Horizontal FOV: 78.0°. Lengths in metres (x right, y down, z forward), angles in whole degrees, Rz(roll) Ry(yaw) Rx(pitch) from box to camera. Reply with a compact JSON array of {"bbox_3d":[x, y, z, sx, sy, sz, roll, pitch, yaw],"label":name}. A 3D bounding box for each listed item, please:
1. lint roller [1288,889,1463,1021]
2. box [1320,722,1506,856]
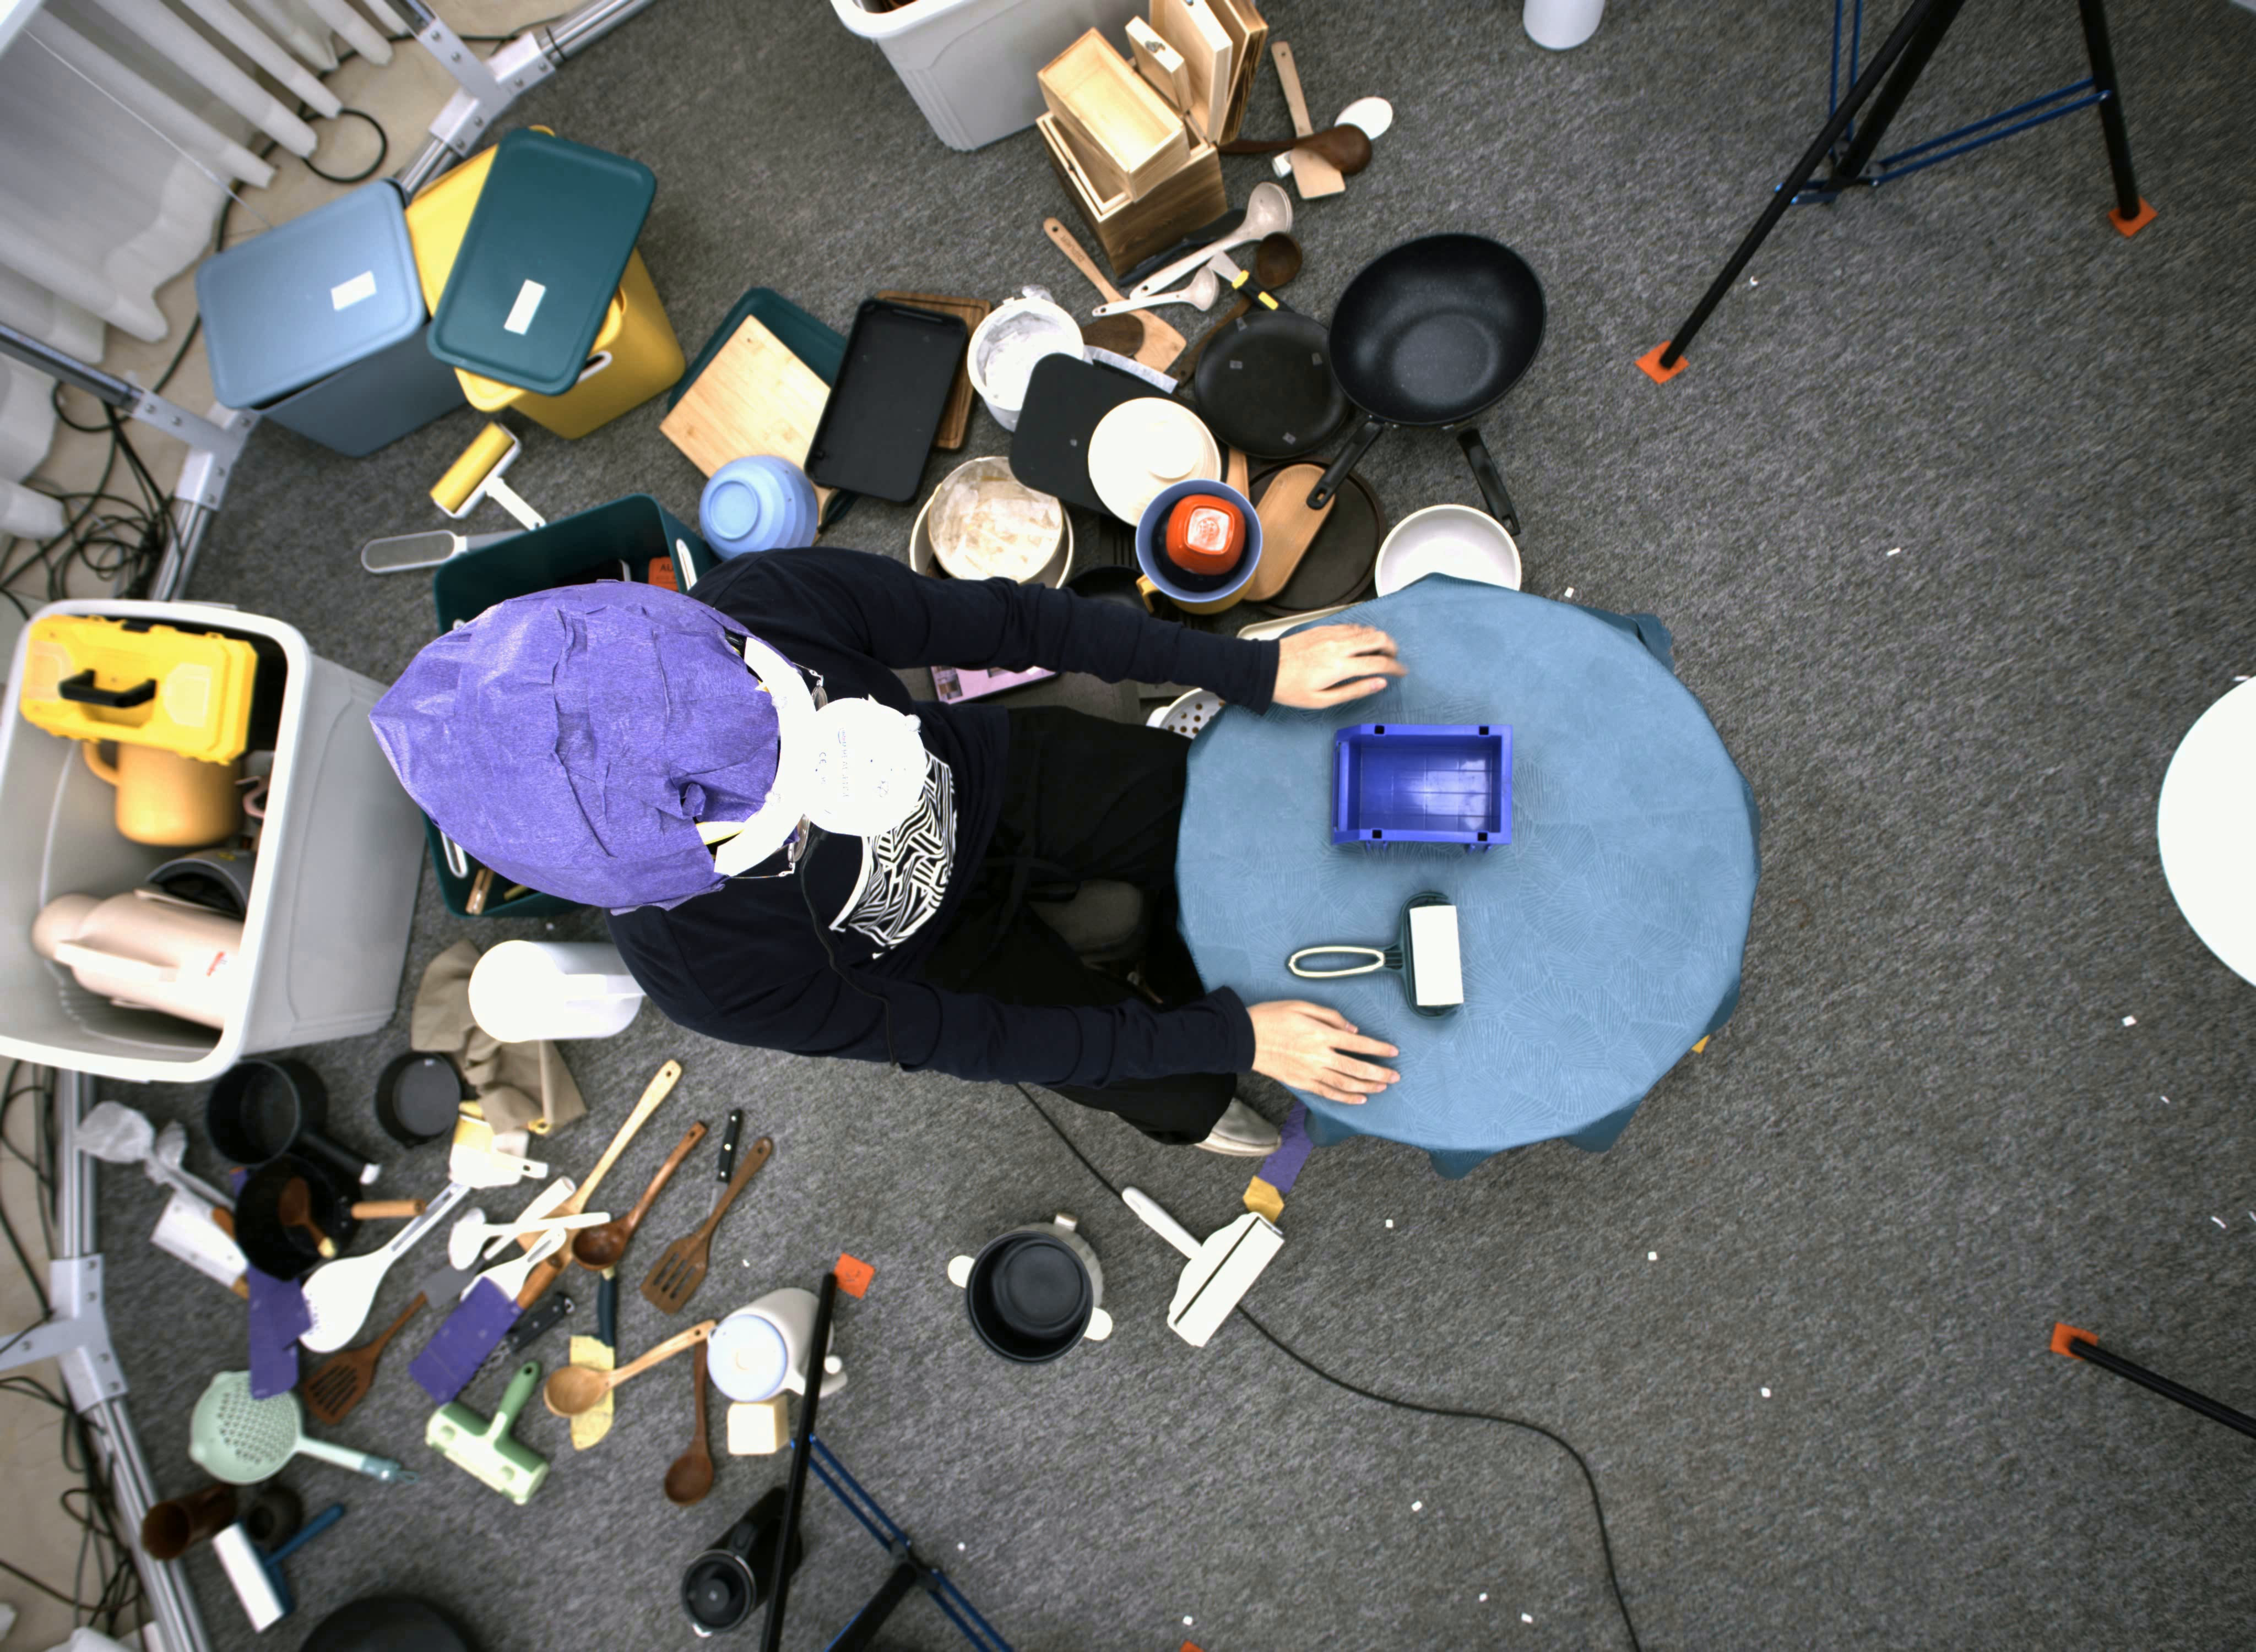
[{"bbox_3d":[0.253,0.138,1.440,0.181,0.048,0.133,-5,86,15],"label":"lint roller"},{"bbox_3d":[0.291,-0.039,1.421,0.180,0.082,0.124,3,87,8],"label":"box"}]
